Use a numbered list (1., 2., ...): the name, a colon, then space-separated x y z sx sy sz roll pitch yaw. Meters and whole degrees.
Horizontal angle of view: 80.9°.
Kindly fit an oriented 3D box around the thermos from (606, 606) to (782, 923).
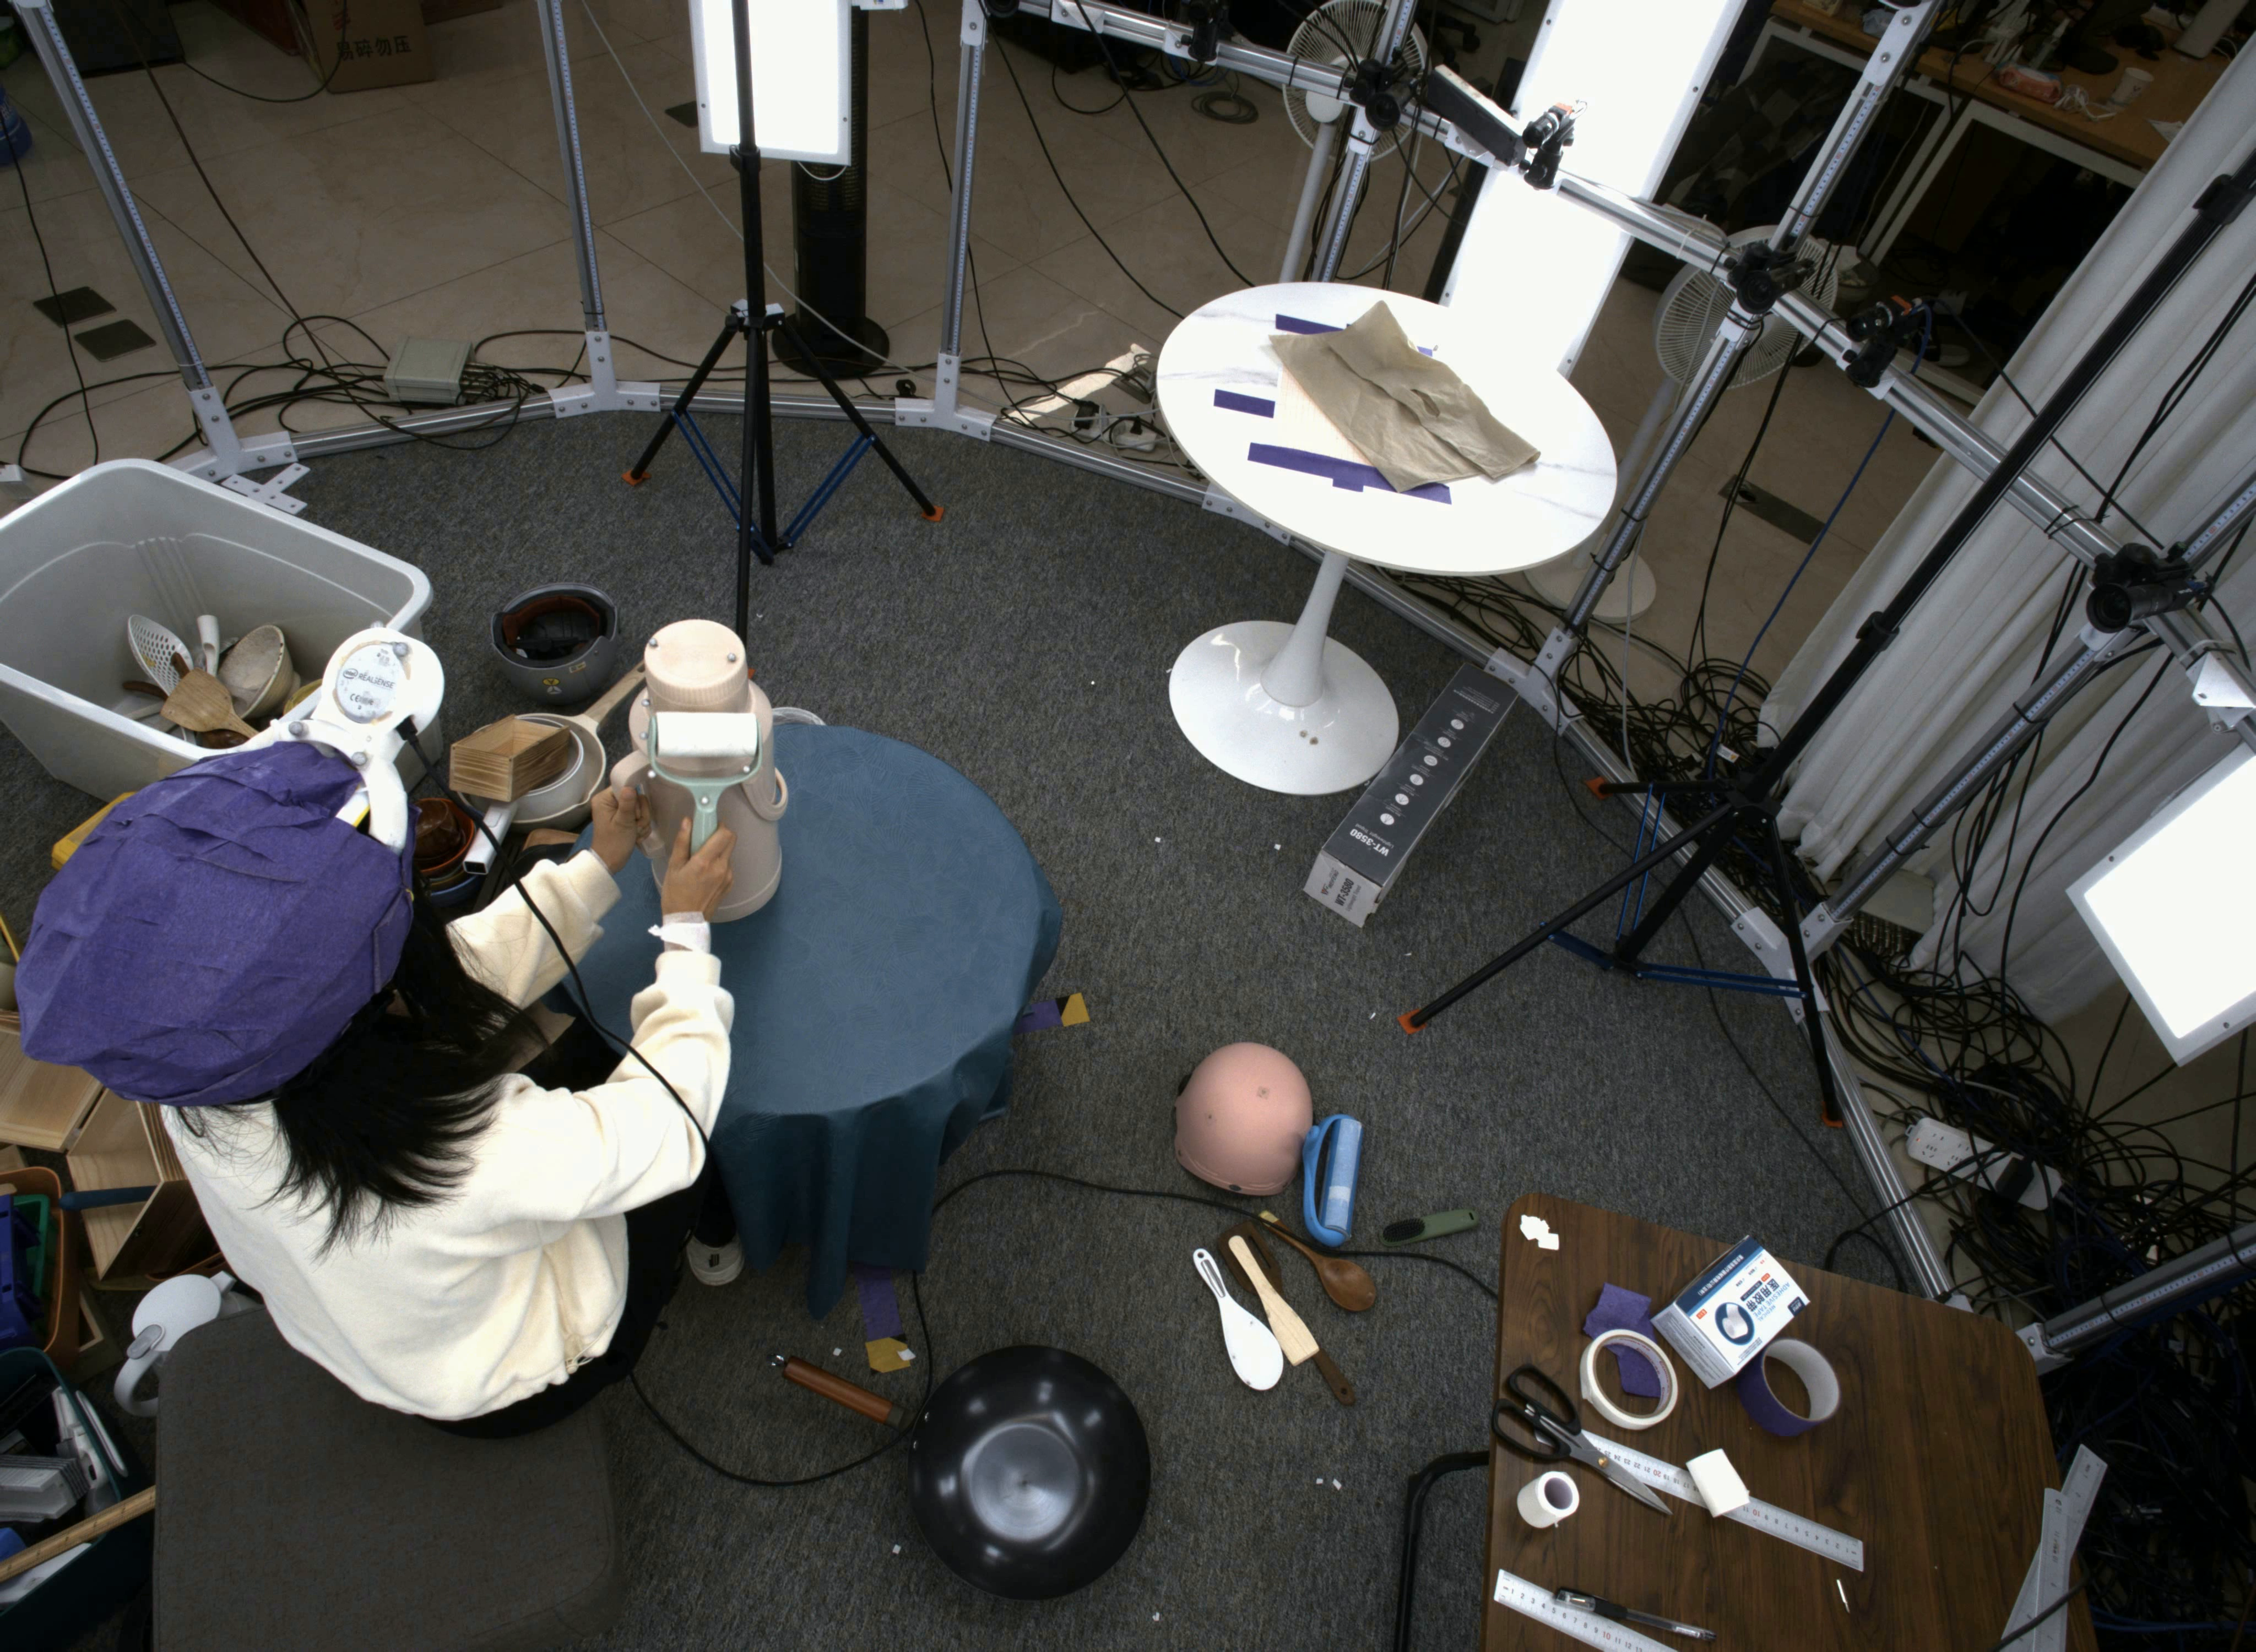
1. thermos: -0.503 -0.060 1.486 0.171 0.415 0.207 37 54 17

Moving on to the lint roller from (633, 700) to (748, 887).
1. lint roller: -0.457 -0.033 1.340 0.118 0.202 0.047 -2 14 -28
